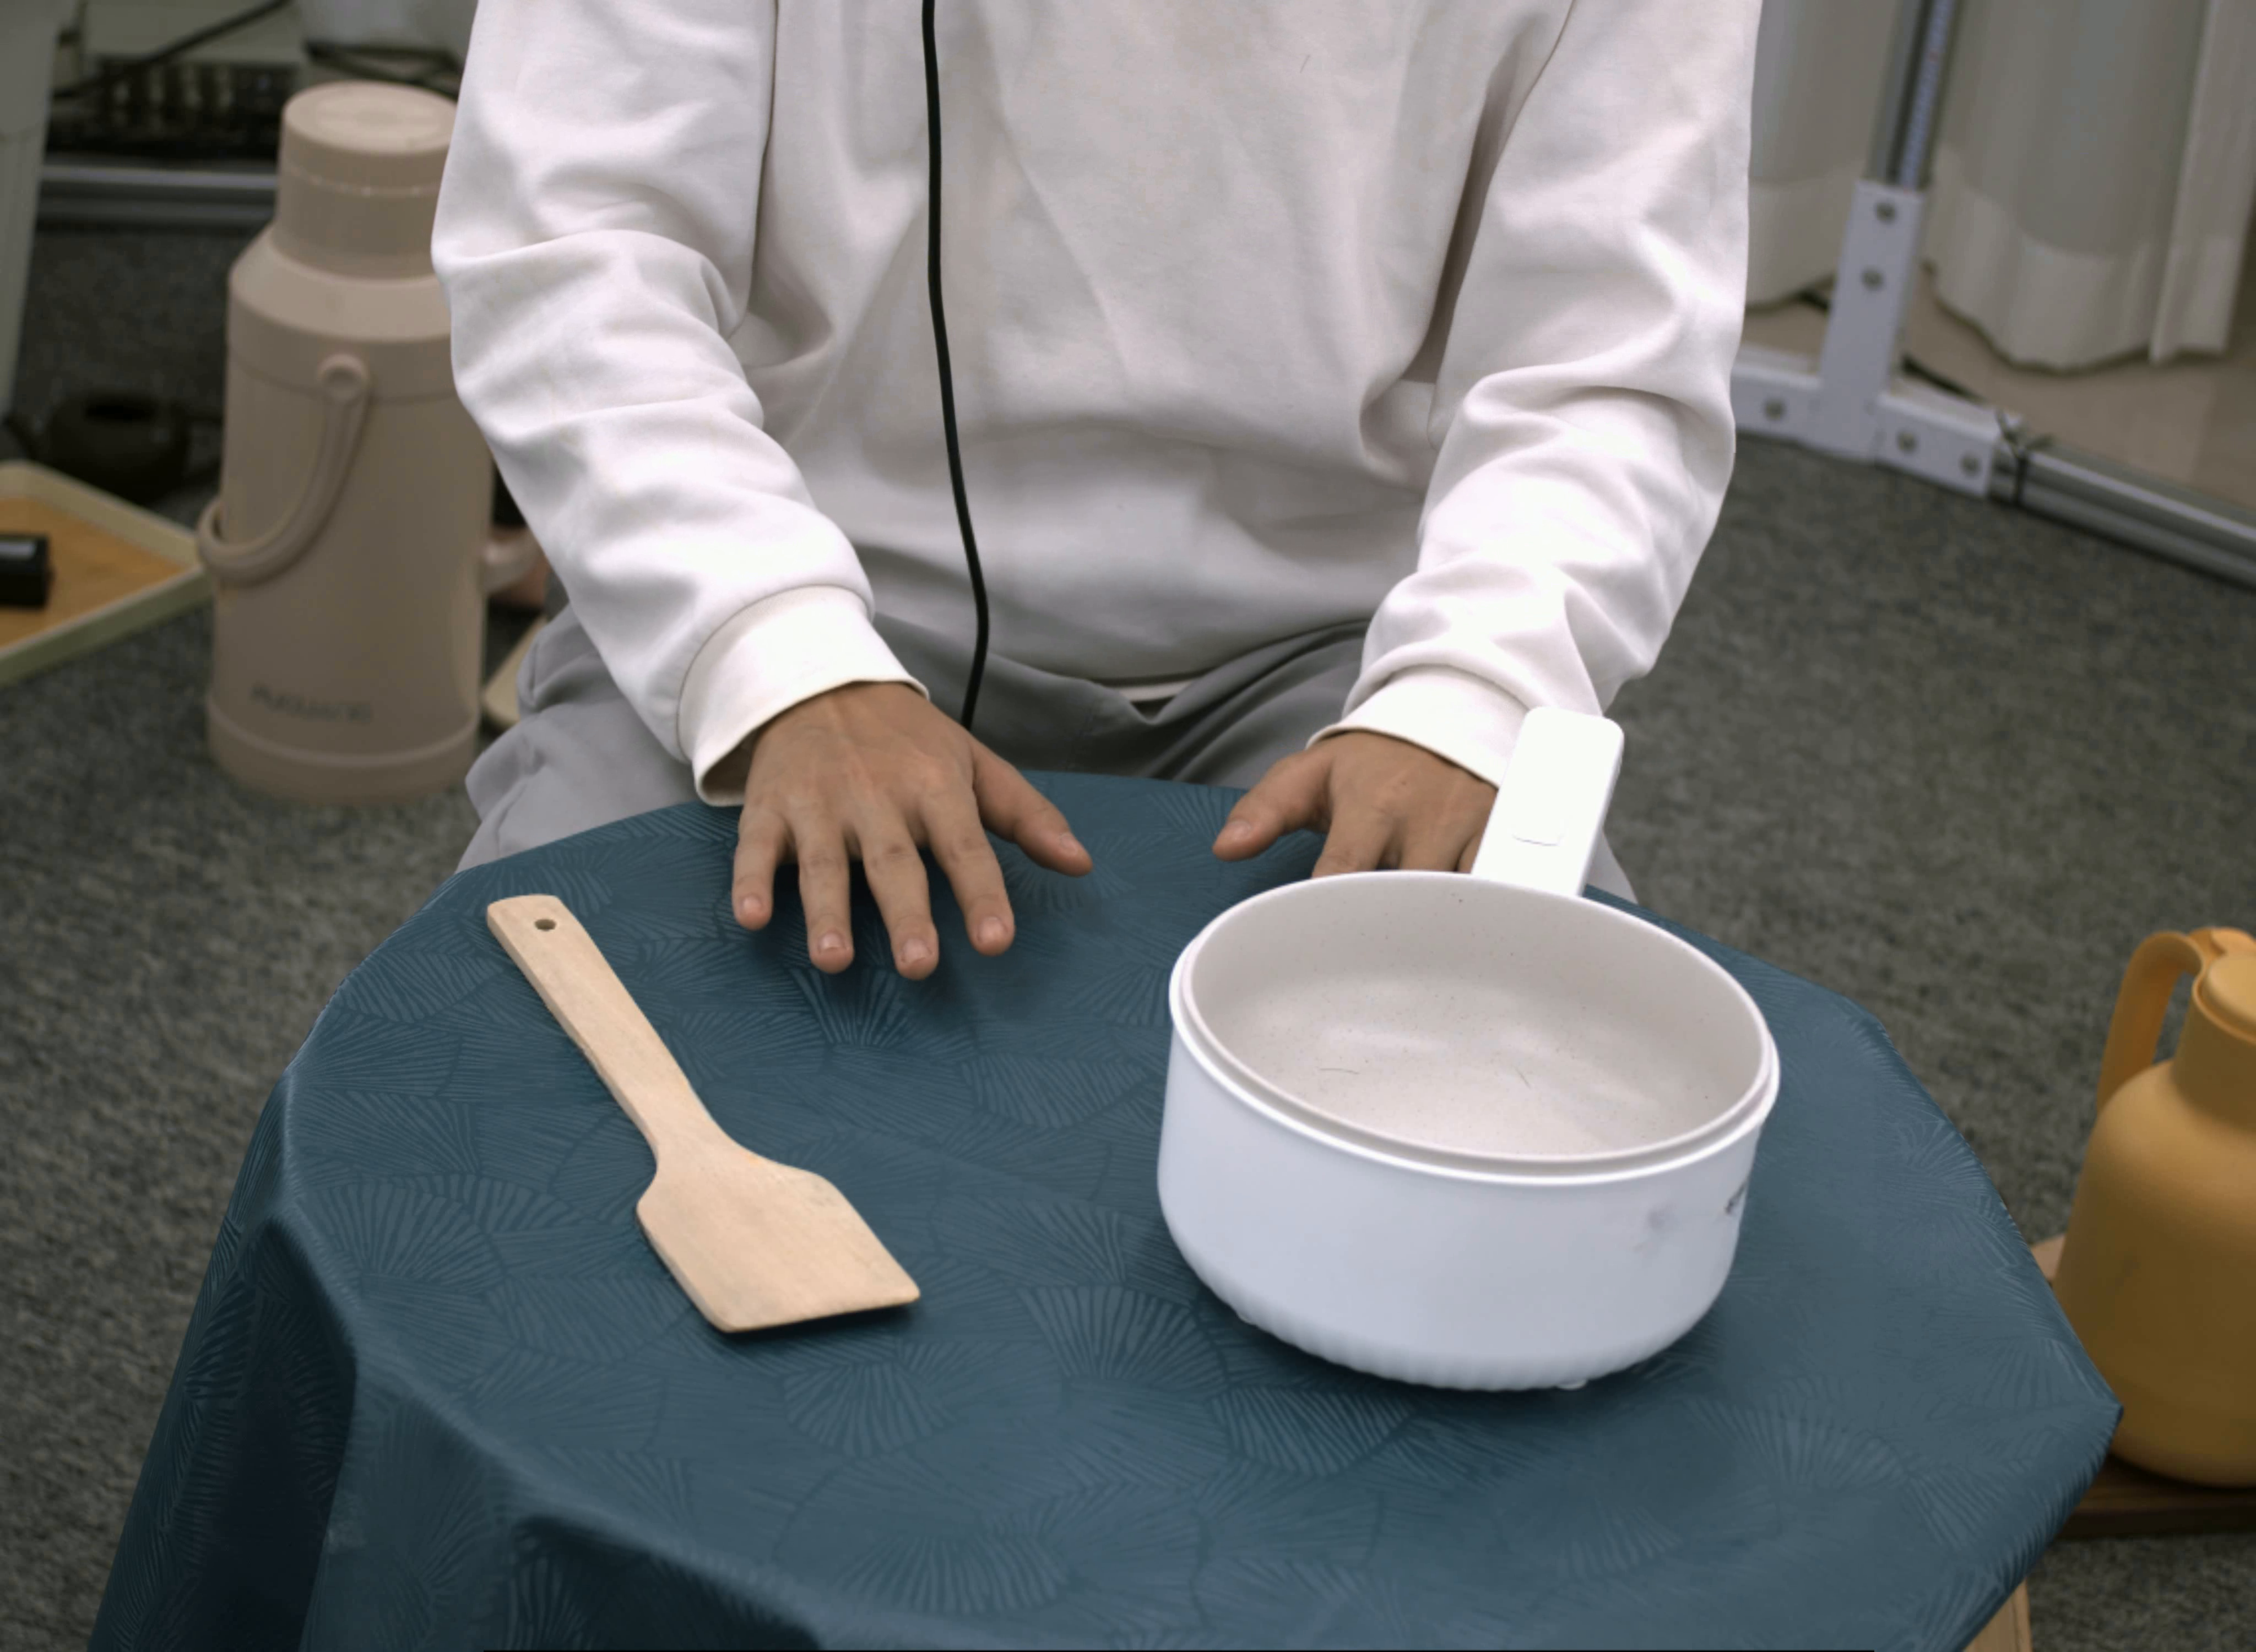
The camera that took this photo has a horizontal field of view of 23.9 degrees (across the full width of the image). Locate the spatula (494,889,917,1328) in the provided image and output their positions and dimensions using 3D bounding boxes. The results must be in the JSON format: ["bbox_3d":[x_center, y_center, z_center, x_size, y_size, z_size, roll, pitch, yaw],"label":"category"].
[{"bbox_3d":[-0.160,0.092,1.821,0.072,0.010,0.296,-8,30,-24],"label":"spatula"}]

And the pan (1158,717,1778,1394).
[{"bbox_3d":[0.124,0.075,1.828,0.201,0.102,0.356,10,25,8],"label":"pan"}]
